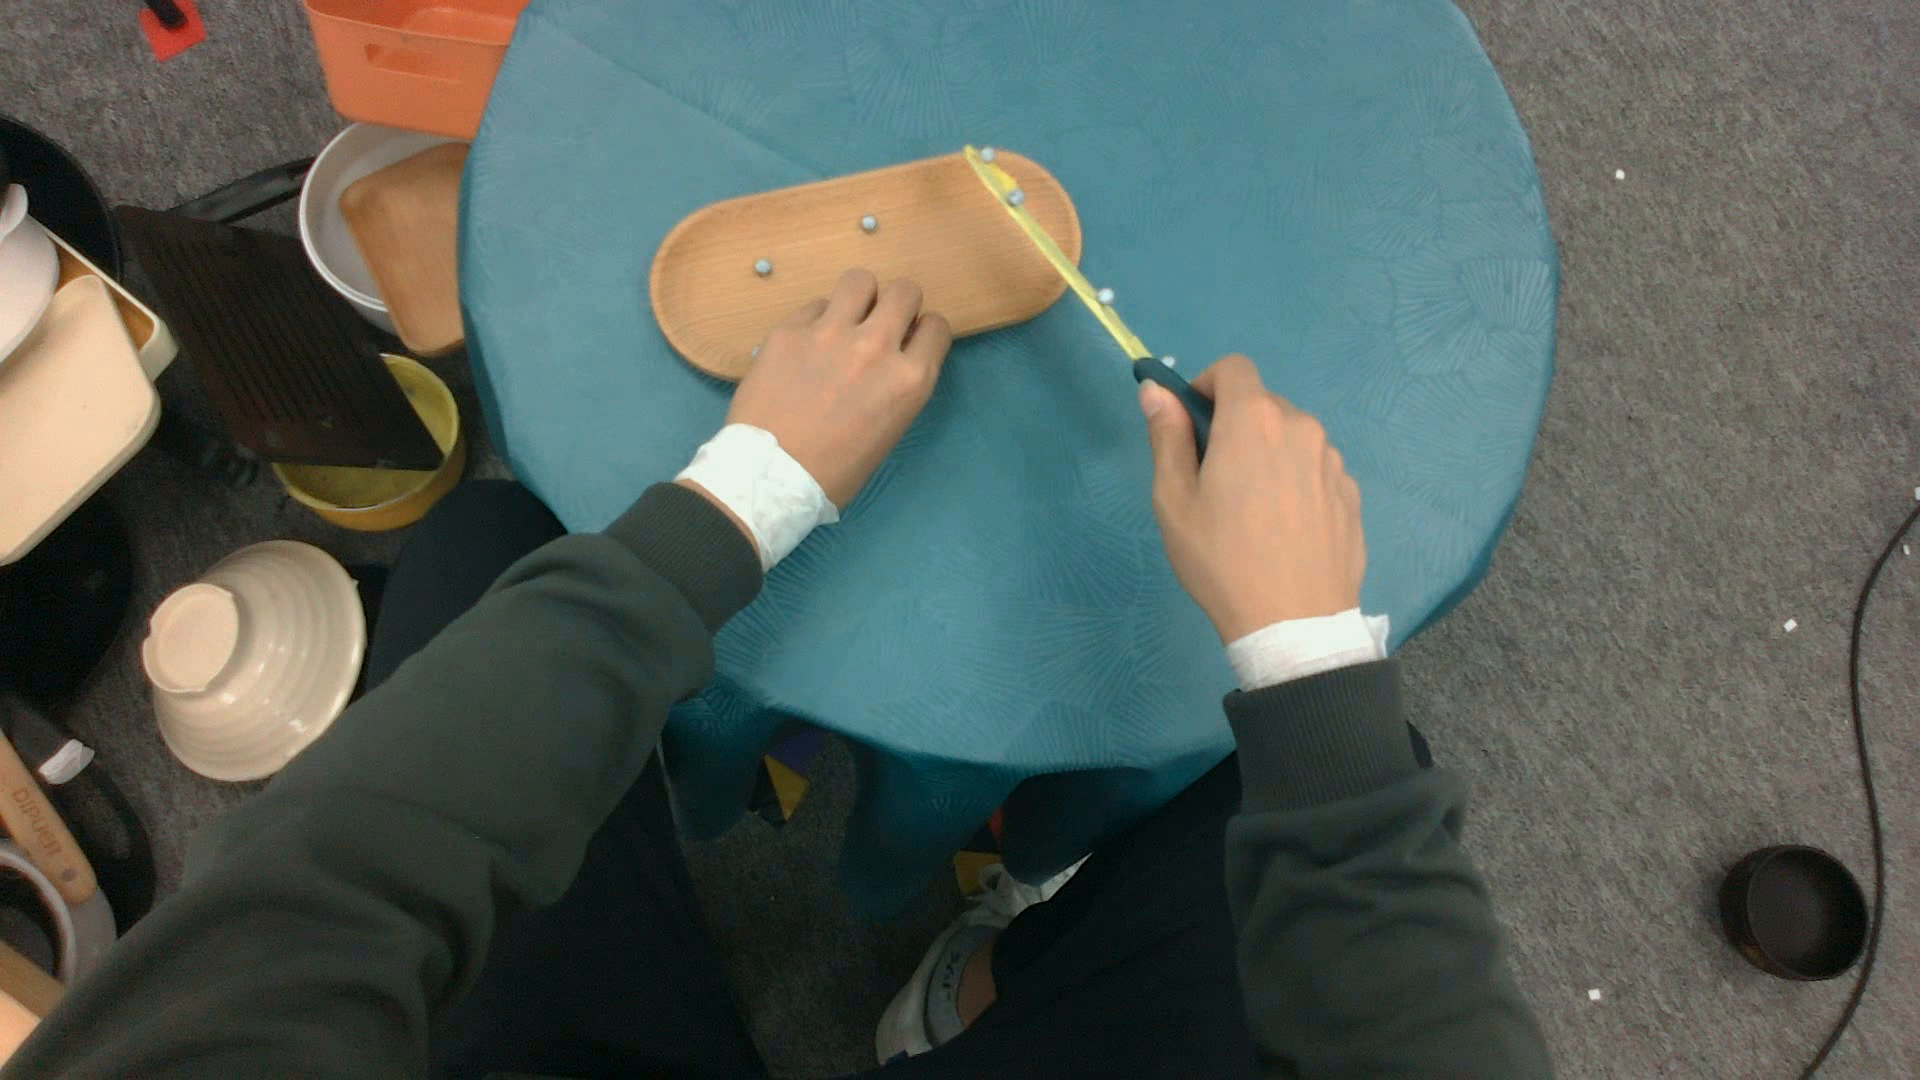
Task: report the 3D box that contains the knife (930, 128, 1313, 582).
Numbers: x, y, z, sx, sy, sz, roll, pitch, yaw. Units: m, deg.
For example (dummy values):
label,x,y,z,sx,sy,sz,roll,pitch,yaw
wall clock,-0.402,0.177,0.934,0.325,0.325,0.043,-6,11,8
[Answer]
label,x,y,z,sx,sy,sz,roll,pitch,yaw
knife,0.071,-0.096,0.660,0.027,0.081,0.290,-42,75,17

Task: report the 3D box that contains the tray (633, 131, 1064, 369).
label,x,y,z,sx,sy,sz,roll,pitch,yaw
tray,-0.056,-0.154,0.729,0.231,0.020,0.102,-15,79,-12
